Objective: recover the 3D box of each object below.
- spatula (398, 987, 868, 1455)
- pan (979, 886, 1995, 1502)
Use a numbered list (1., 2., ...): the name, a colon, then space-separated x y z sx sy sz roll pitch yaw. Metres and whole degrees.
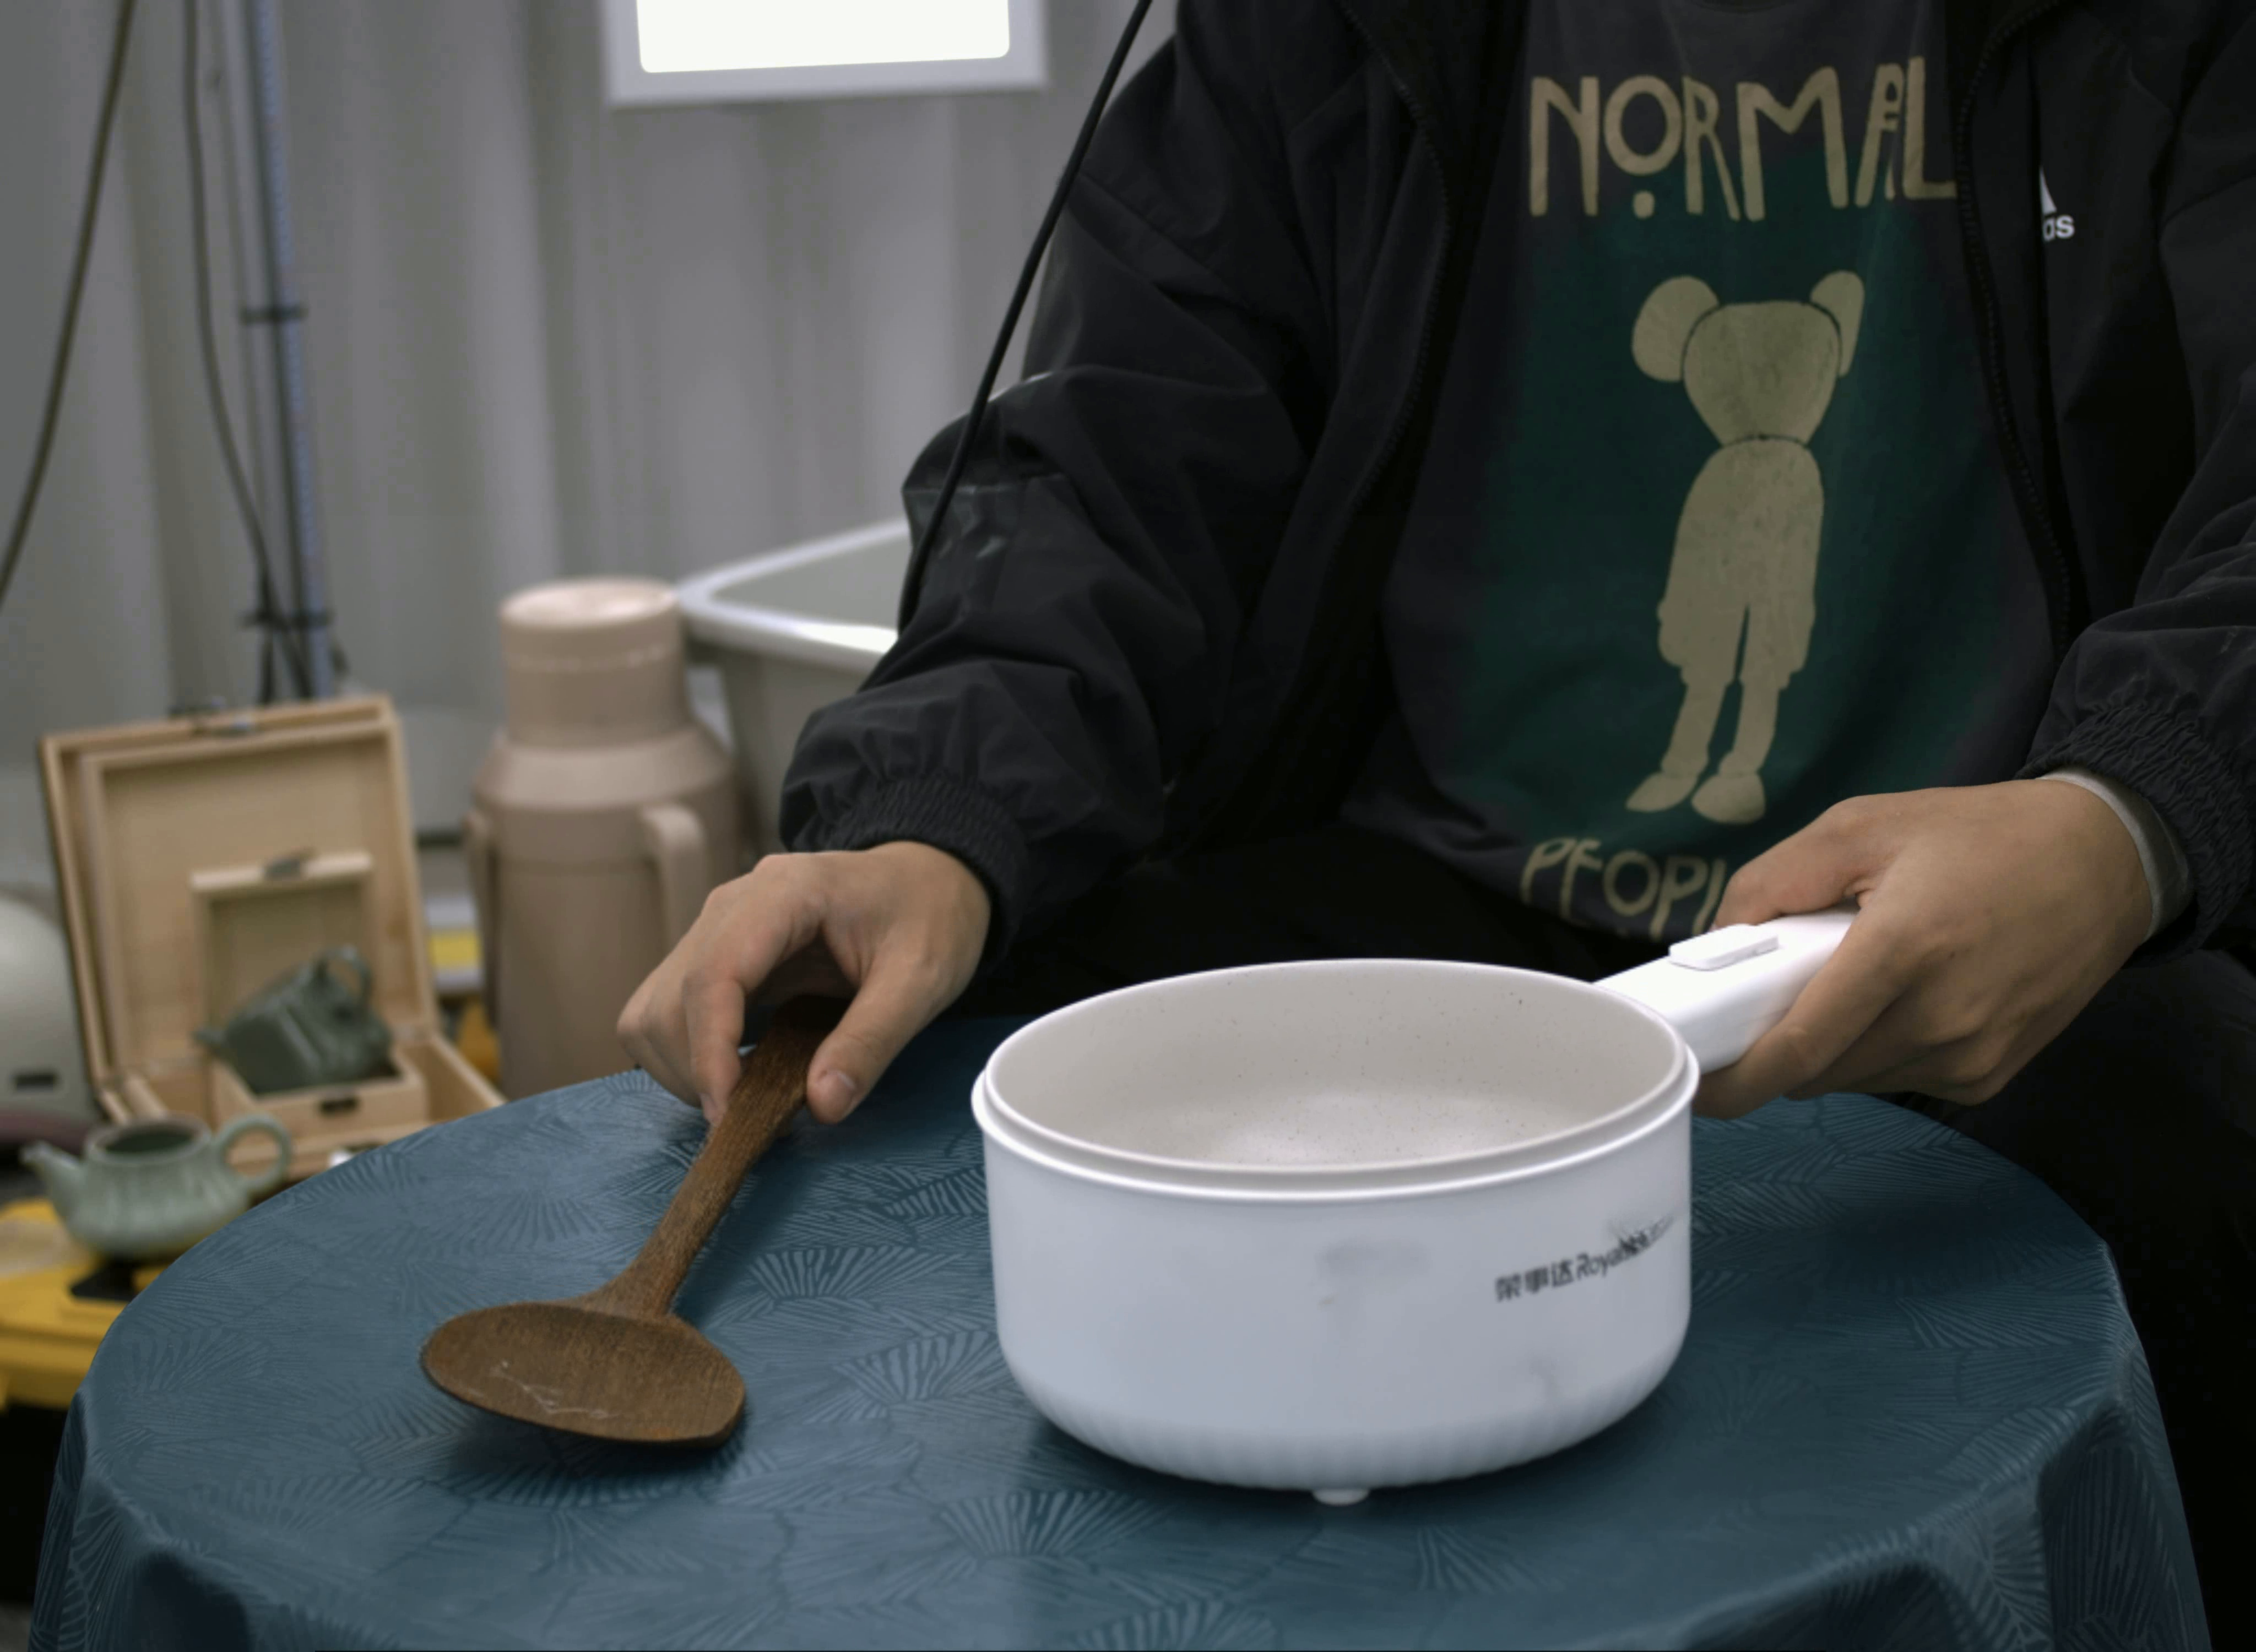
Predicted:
1. spatula: -0.131 0.112 1.678 0.096 0.016 0.388 13 18 6
2. pan: 0.117 0.098 1.566 0.354 0.102 0.202 -14 18 -40
